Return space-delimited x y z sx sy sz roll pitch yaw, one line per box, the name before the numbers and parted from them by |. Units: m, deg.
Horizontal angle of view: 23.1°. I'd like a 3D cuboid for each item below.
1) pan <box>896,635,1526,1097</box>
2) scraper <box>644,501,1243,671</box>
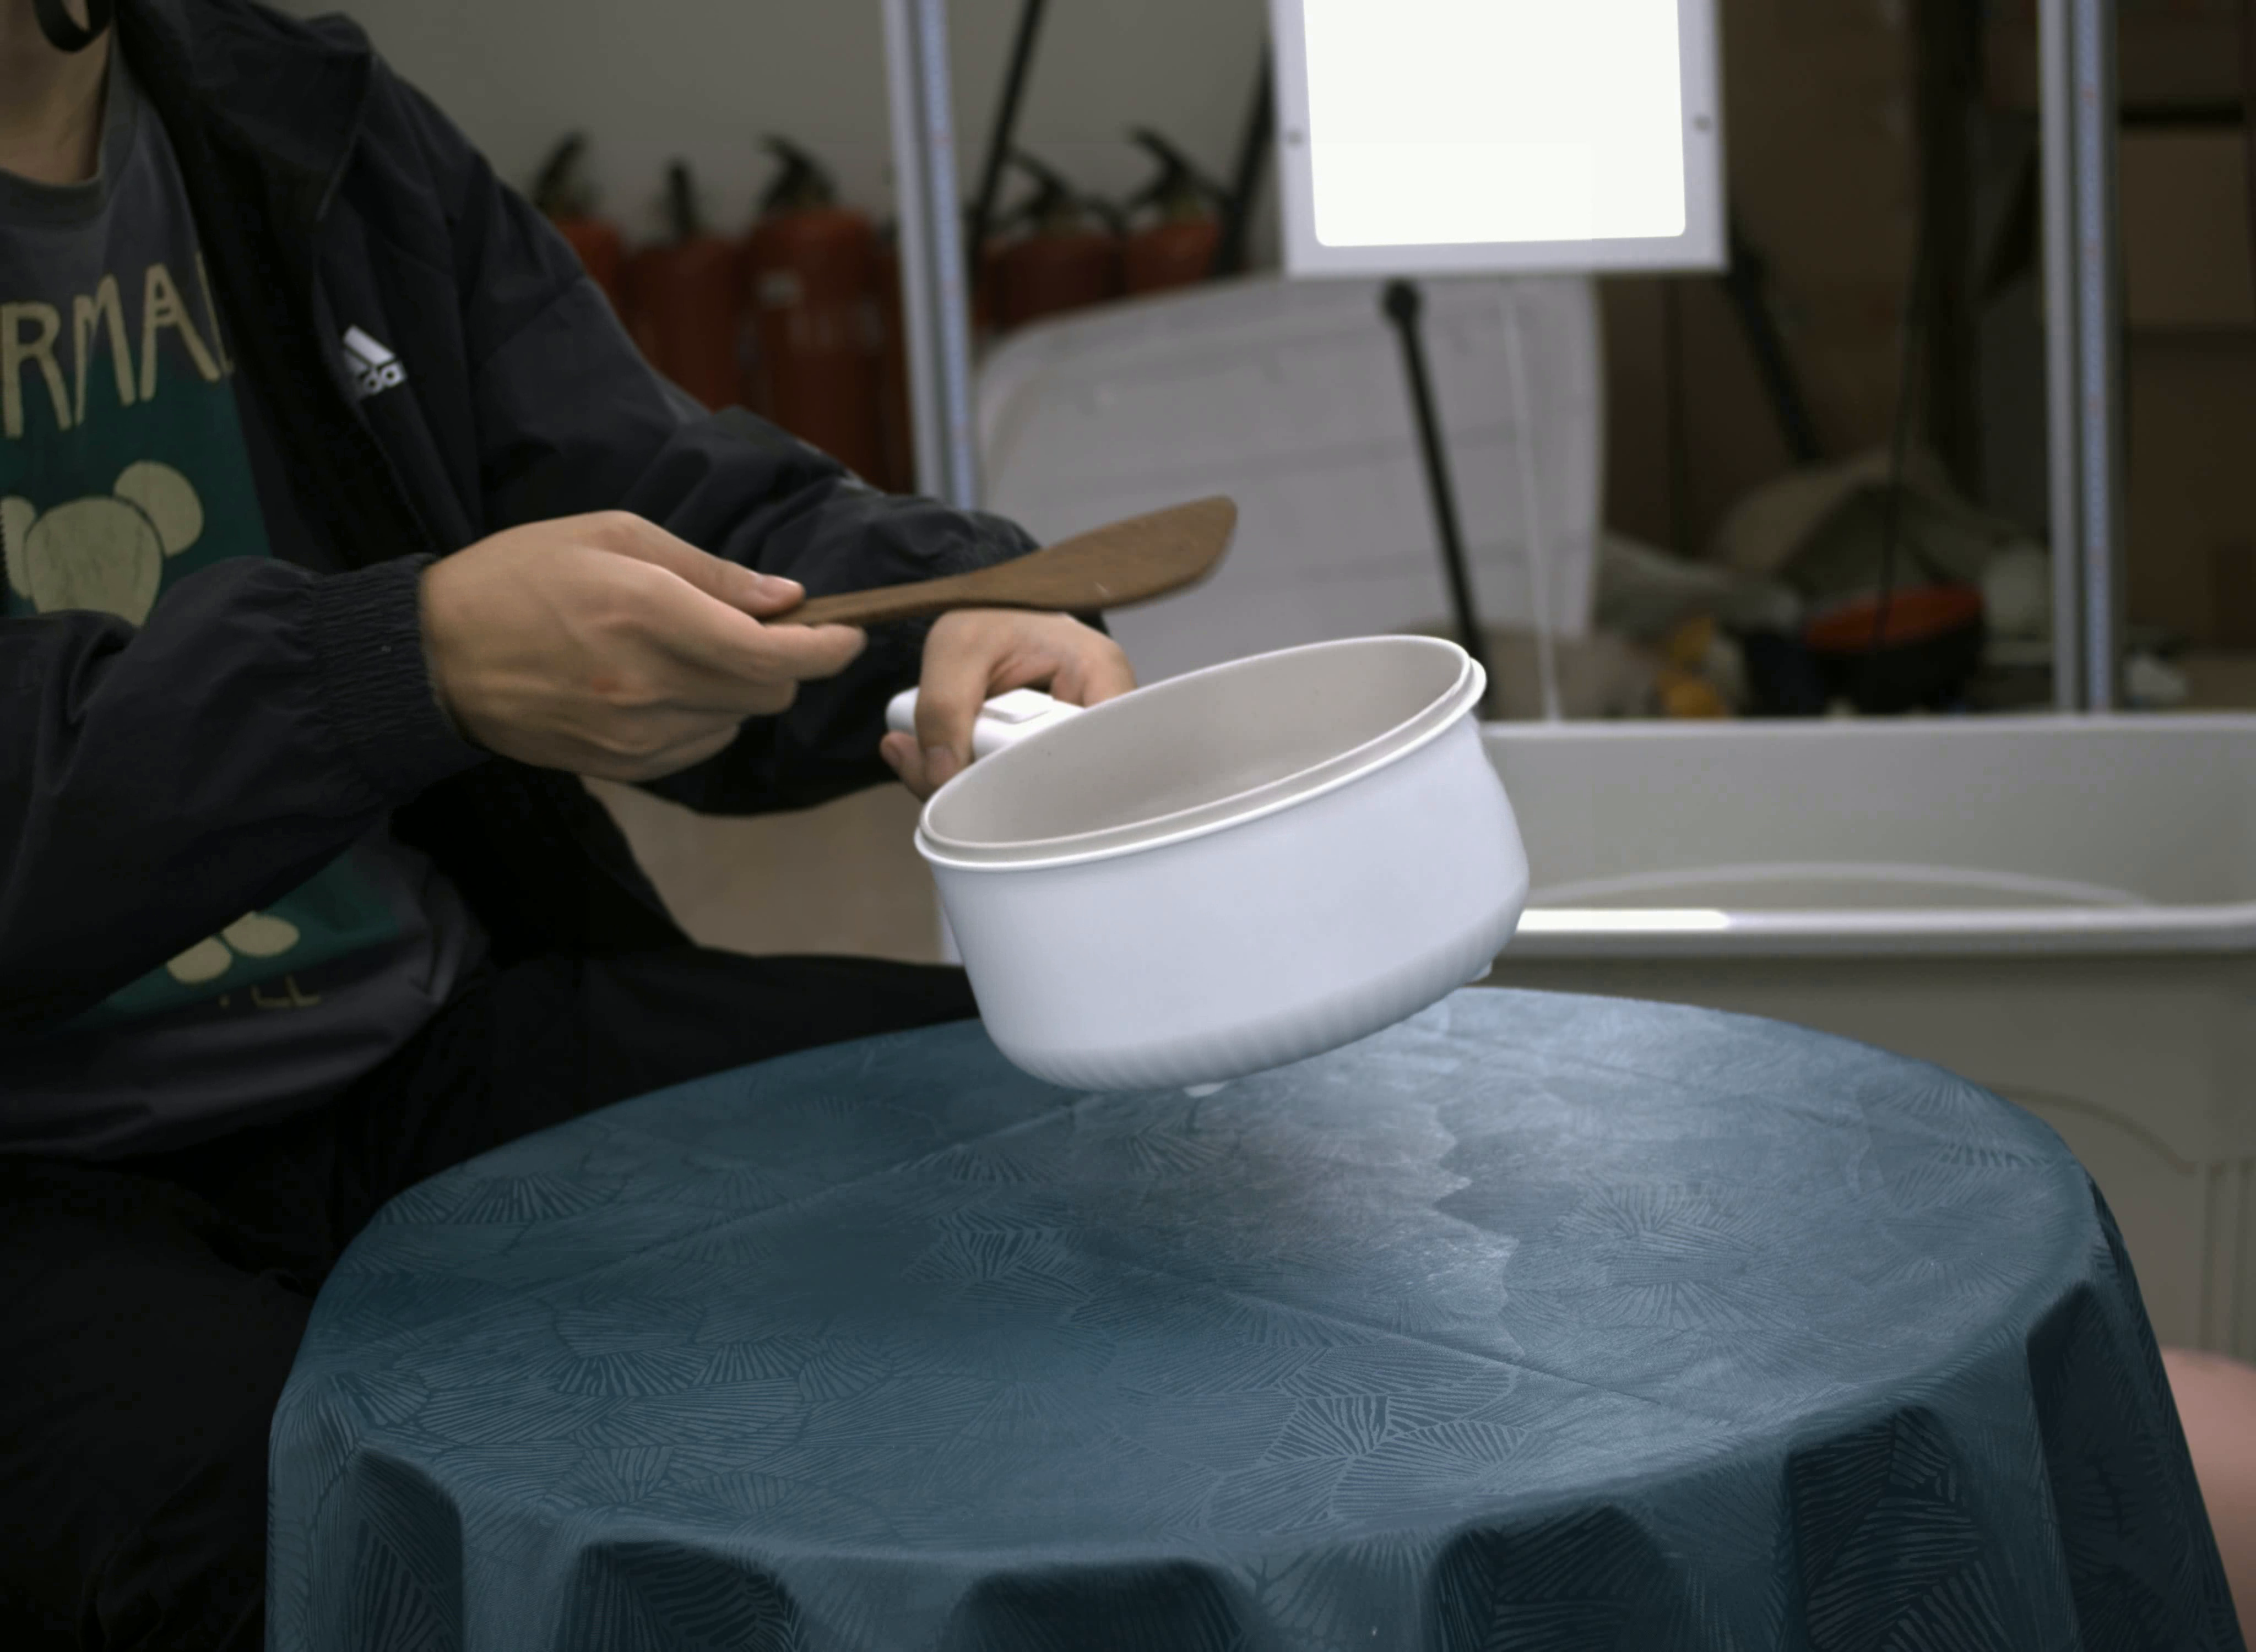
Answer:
pan | 0.006 0.011 1.937 0.198 0.102 0.360 -23 13 -19
scraper | -0.063 -0.076 1.863 0.213 0.011 0.075 -10 25 13
